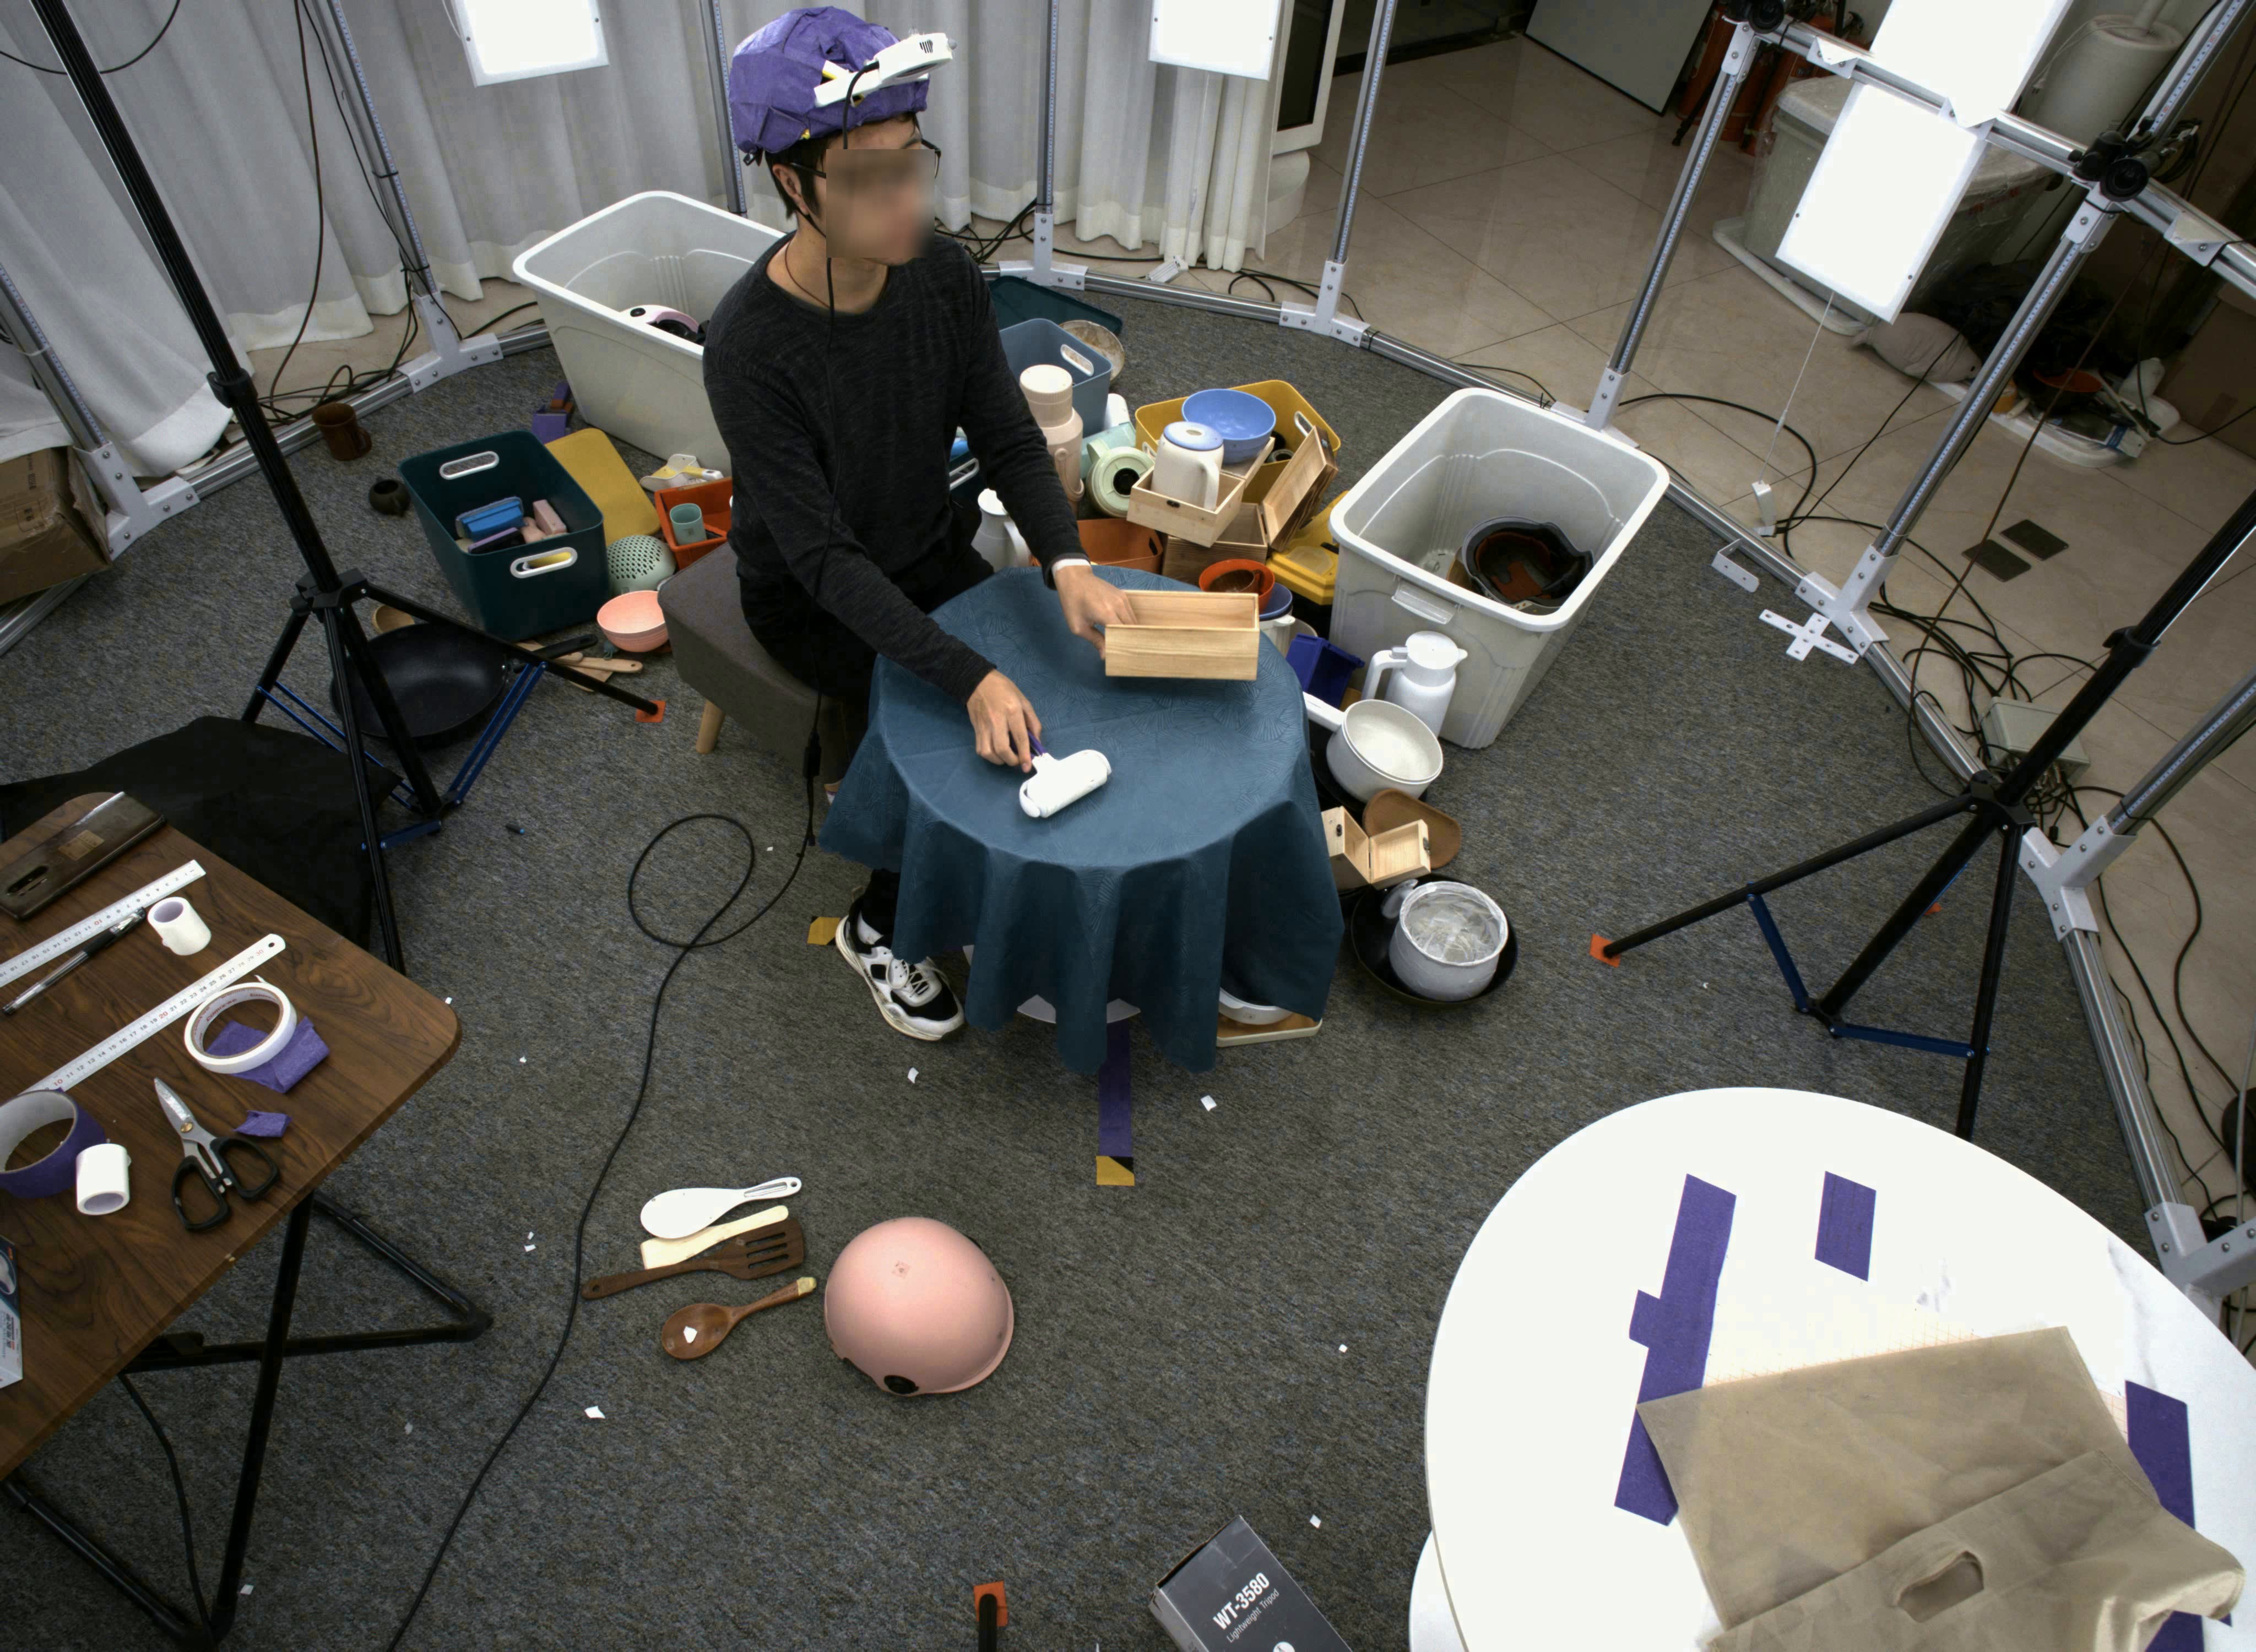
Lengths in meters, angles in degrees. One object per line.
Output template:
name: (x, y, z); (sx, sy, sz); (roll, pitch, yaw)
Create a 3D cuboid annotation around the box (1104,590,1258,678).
box: (0.076, -0.272, 1.812); (0.211, 0.078, 0.110); (1, 38, 4)

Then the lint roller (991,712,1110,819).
lint roller: (-0.121, -0.100, 1.706); (0.134, 0.049, 0.183); (-30, 67, -25)
